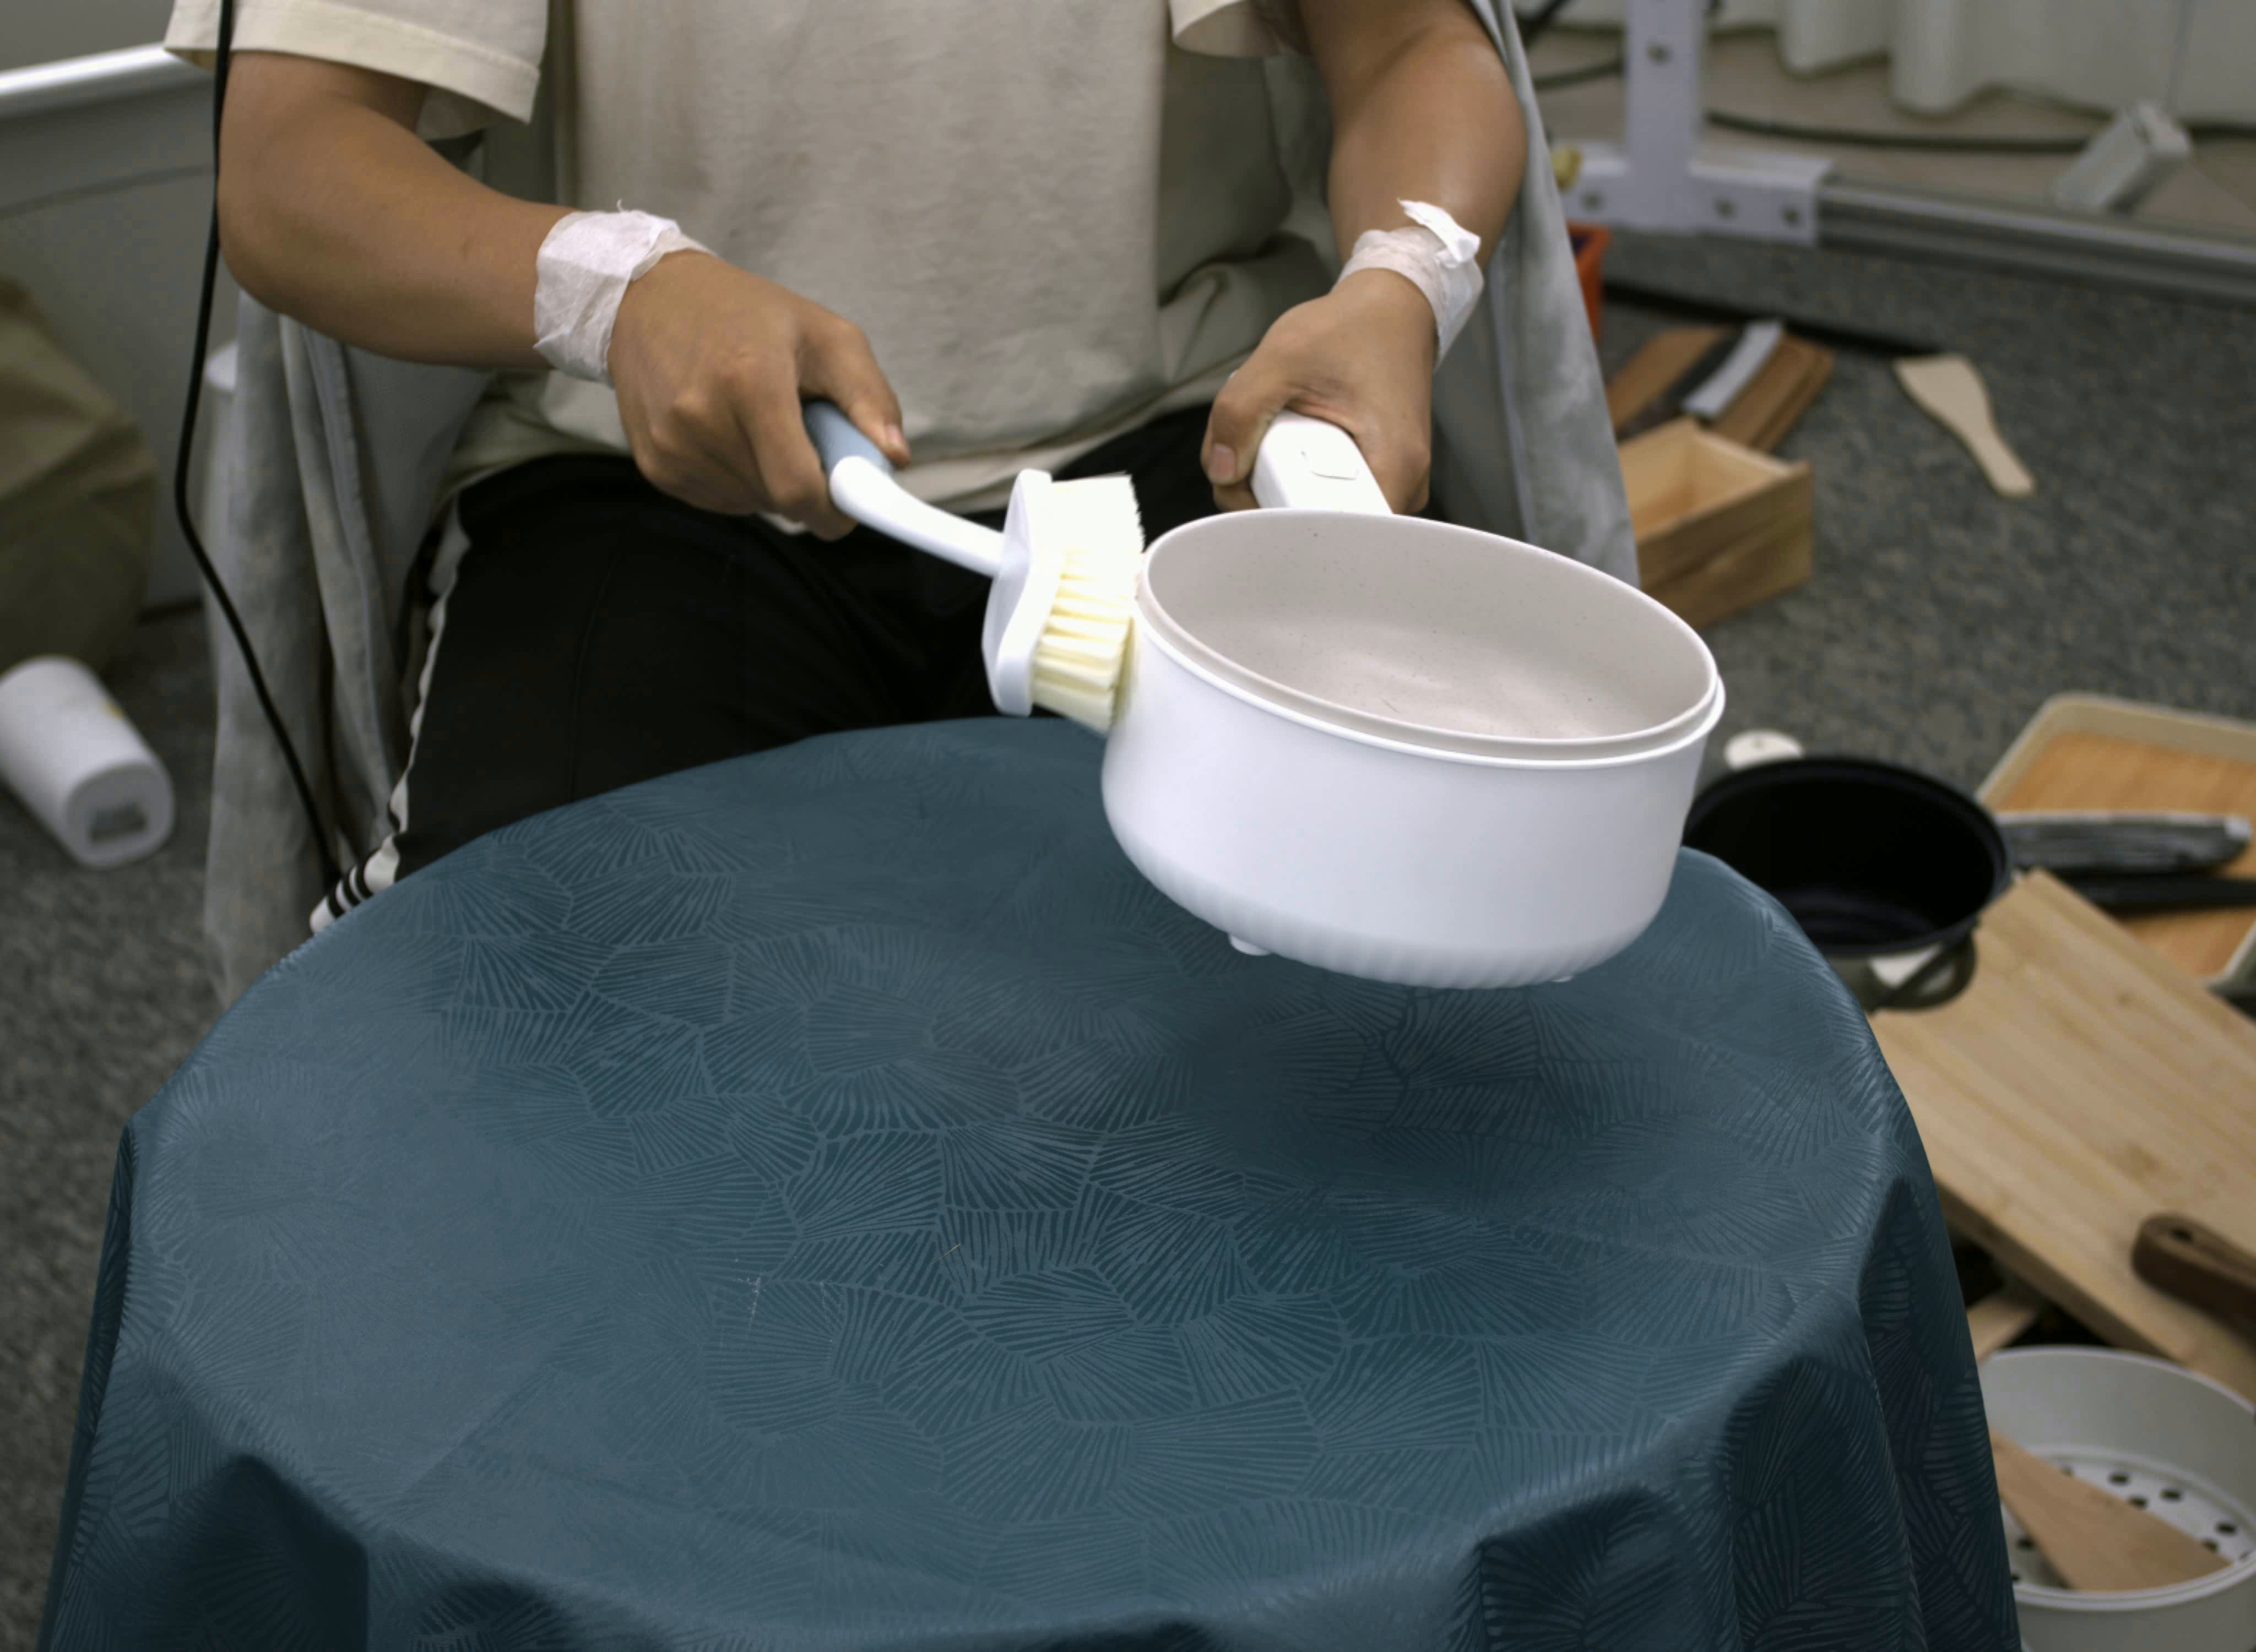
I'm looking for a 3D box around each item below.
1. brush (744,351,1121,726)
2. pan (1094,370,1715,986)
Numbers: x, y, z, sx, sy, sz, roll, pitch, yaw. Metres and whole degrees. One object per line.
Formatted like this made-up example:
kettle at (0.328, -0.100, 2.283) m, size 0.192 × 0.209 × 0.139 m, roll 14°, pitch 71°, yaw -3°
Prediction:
brush at (-0.053, -0.112, 1.974) m, size 0.083 × 0.084 × 0.328 m, roll -43°, pitch 27°, yaw 2°
pan at (0.075, -0.054, 1.942) m, size 0.201 × 0.101 × 0.358 m, roll 5°, pitch 22°, yaw -13°
